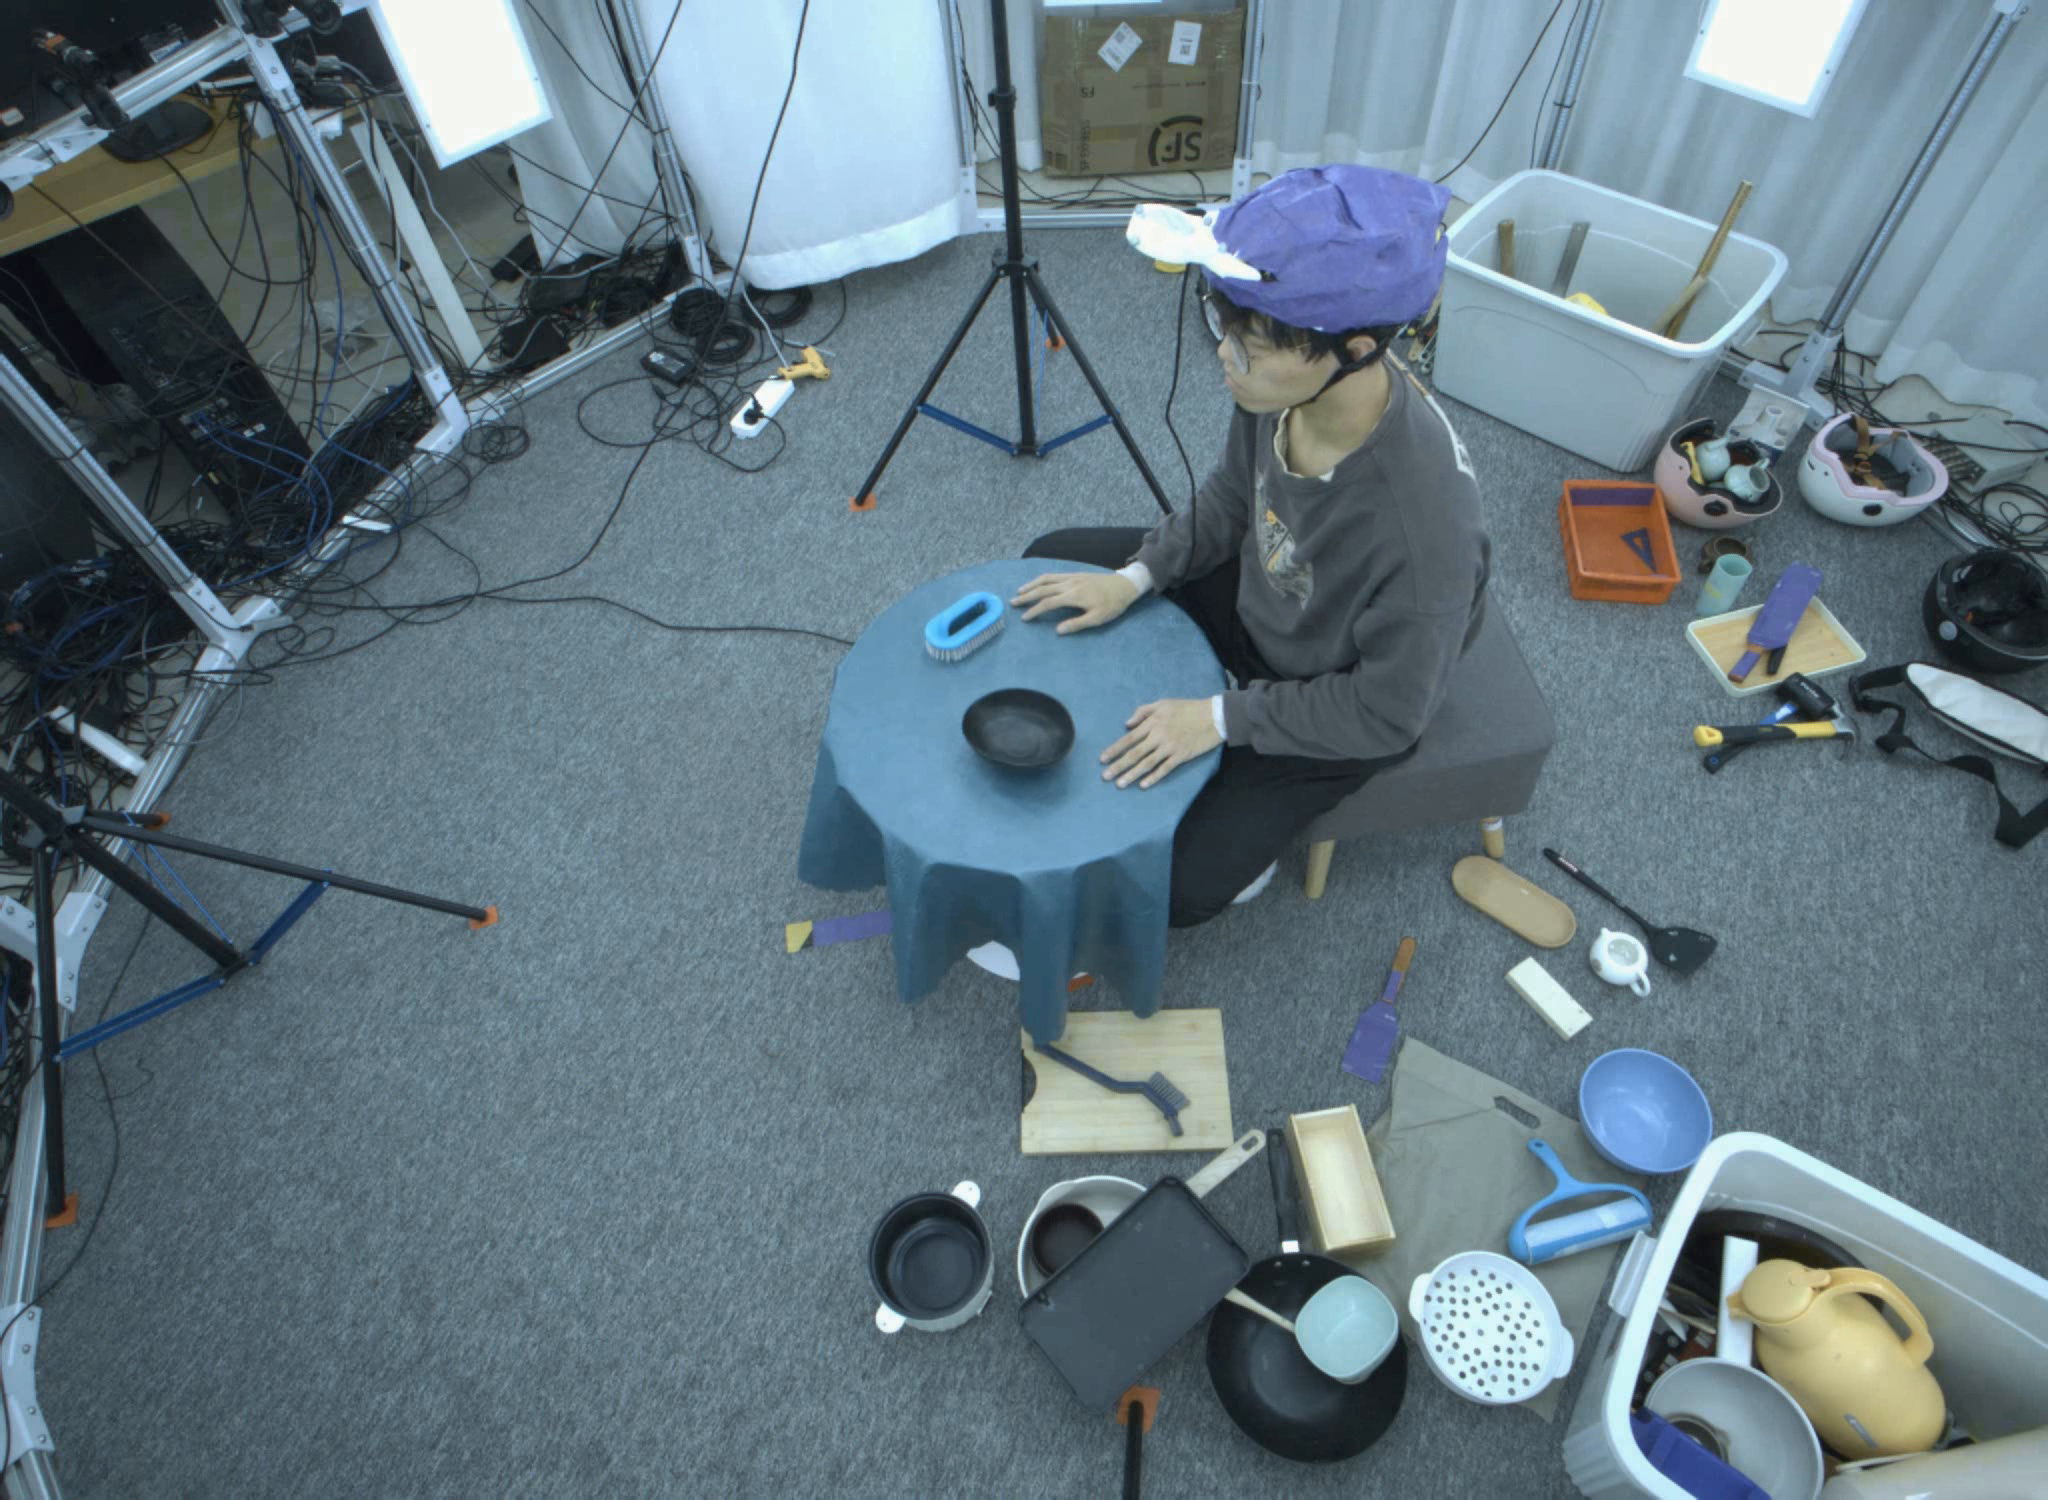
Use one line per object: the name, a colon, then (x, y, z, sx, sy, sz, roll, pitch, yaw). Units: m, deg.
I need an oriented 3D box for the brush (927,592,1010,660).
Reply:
brush: (-0.090, -0.203, 1.893, 0.143, 0.064, 0.082, -35, 55, -22)

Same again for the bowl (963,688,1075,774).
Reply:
bowl: (-0.007, -0.017, 1.758, 0.168, 0.067, 0.137, 19, 57, 17)
